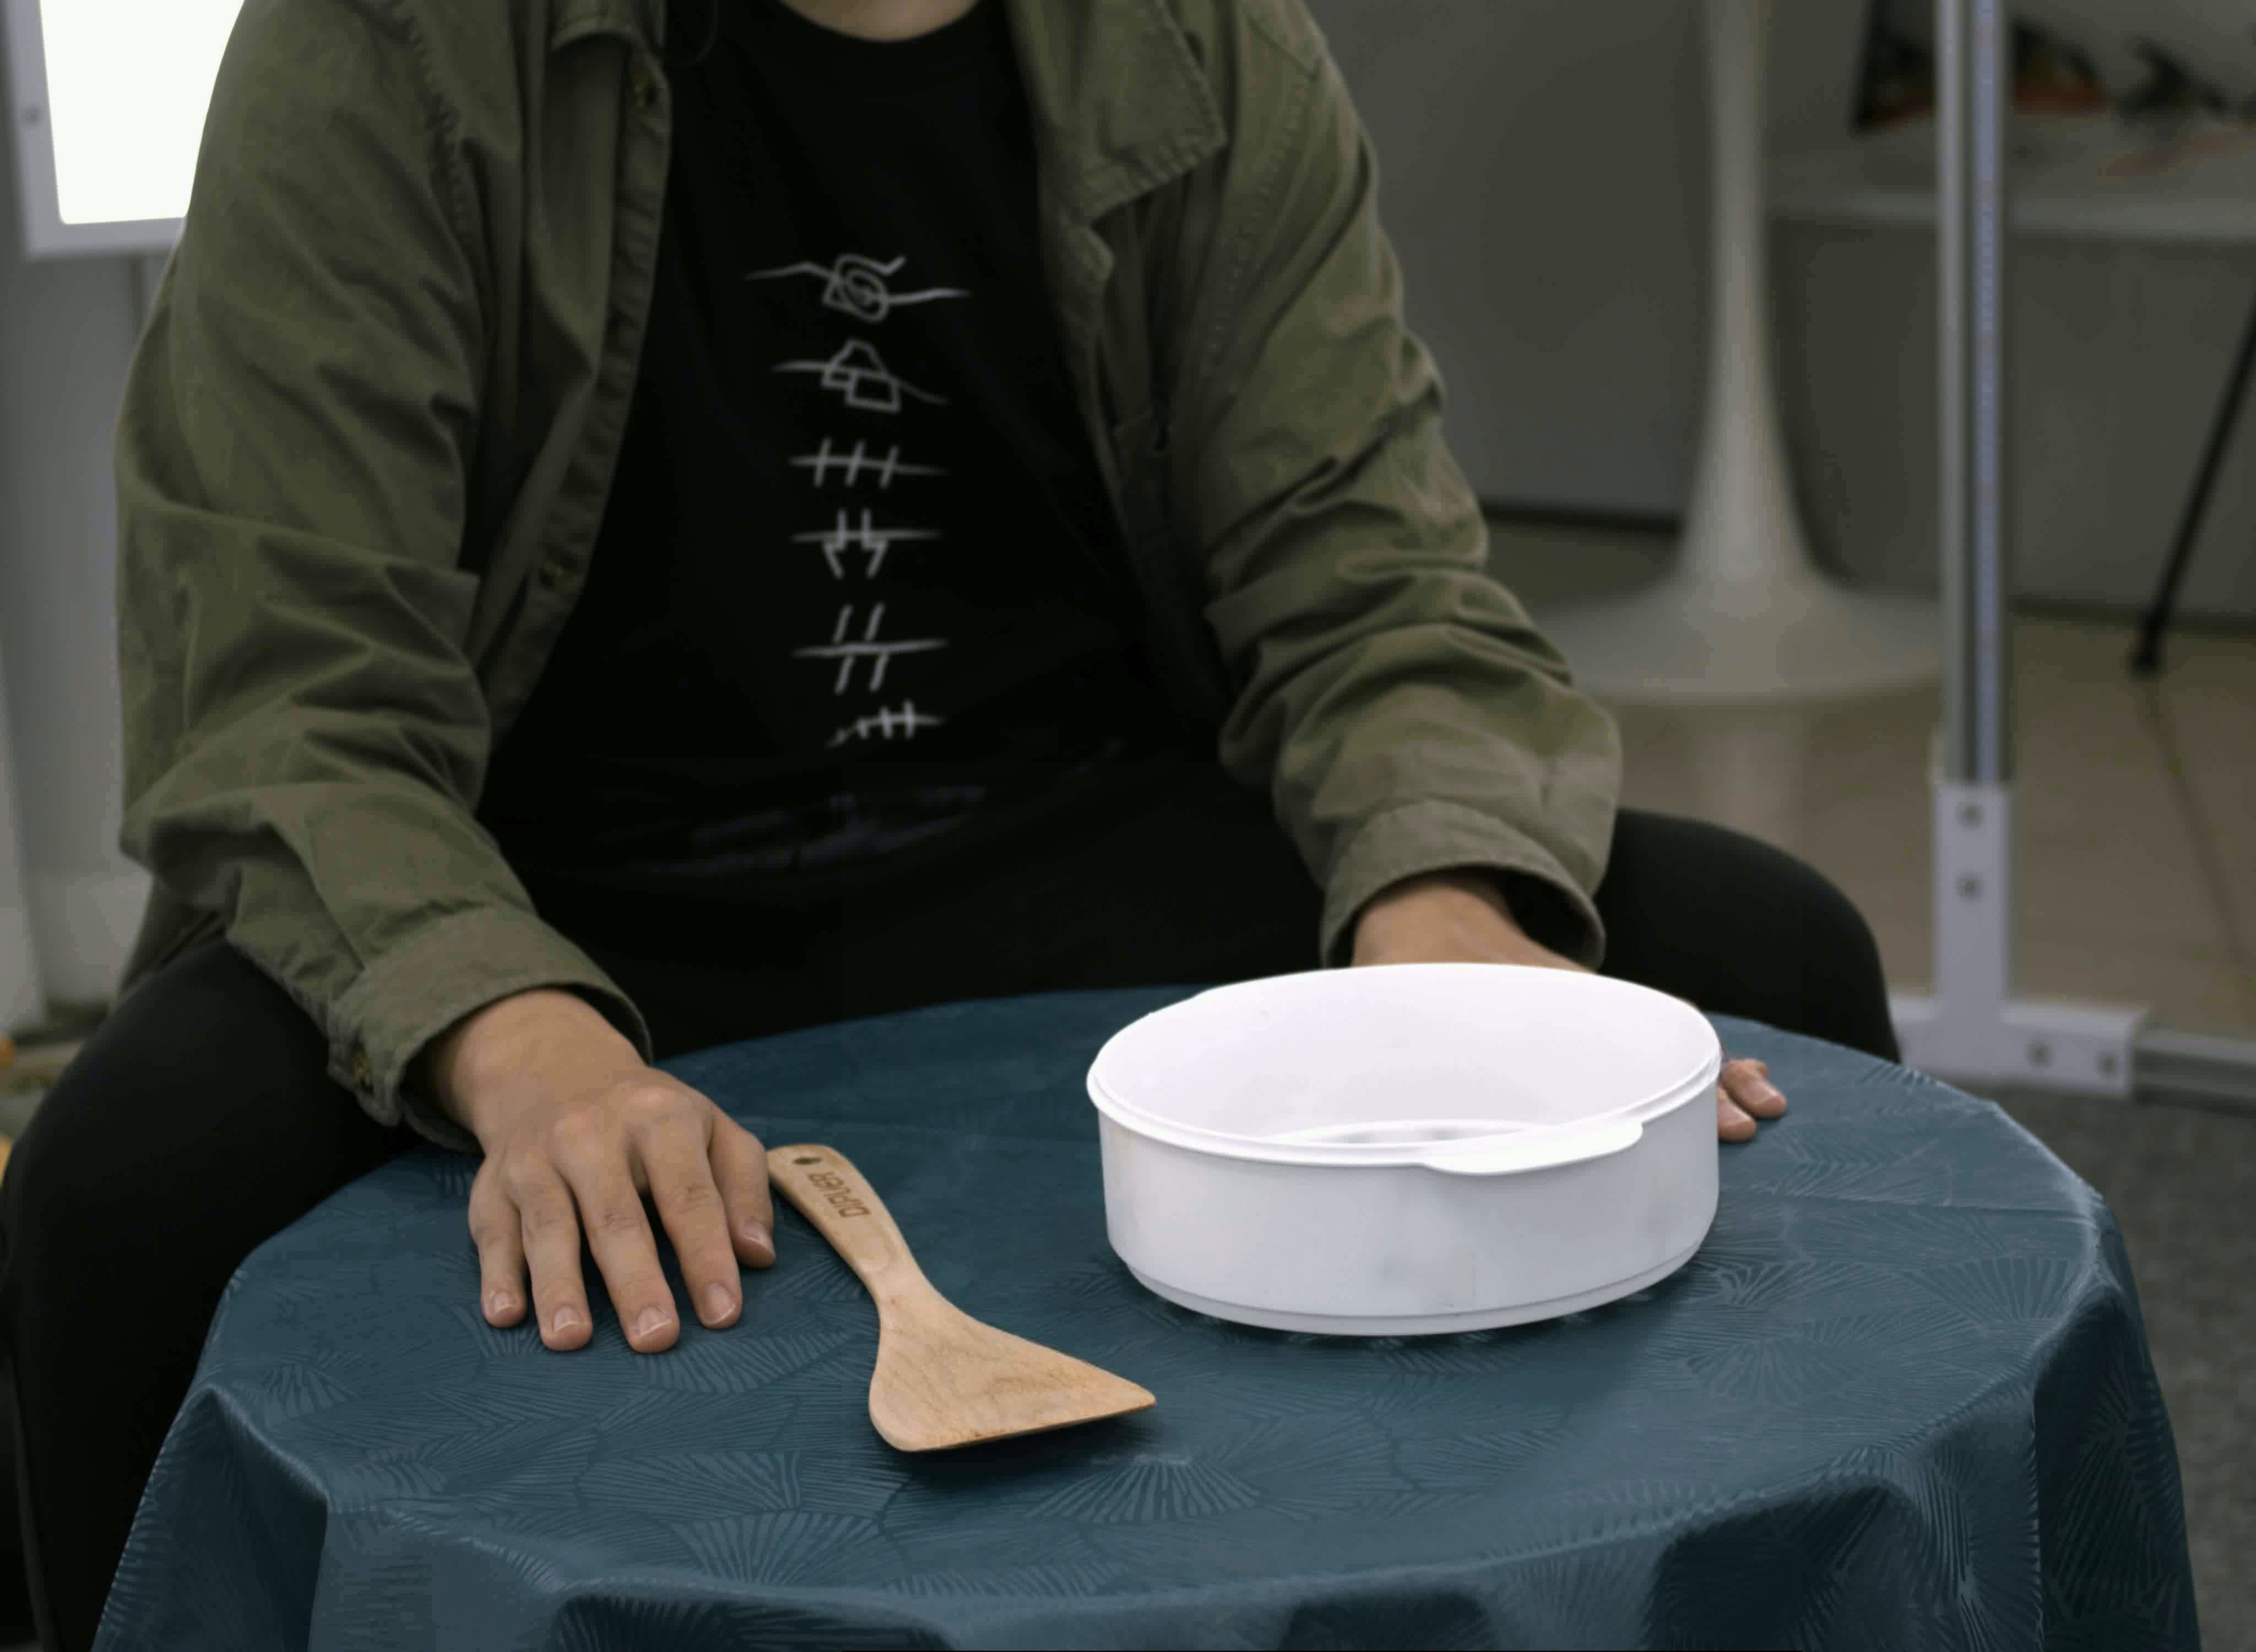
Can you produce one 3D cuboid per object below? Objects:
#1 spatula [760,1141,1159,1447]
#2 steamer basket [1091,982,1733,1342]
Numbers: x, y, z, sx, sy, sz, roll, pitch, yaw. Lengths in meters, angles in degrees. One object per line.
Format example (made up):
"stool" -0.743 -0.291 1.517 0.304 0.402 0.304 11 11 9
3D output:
"spatula" -0.068 0.140 1.676 0.078 0.017 0.330 -7 14 -15
"steamer basket" 0.090 0.104 1.677 0.198 0.070 0.232 -8 13 -18
